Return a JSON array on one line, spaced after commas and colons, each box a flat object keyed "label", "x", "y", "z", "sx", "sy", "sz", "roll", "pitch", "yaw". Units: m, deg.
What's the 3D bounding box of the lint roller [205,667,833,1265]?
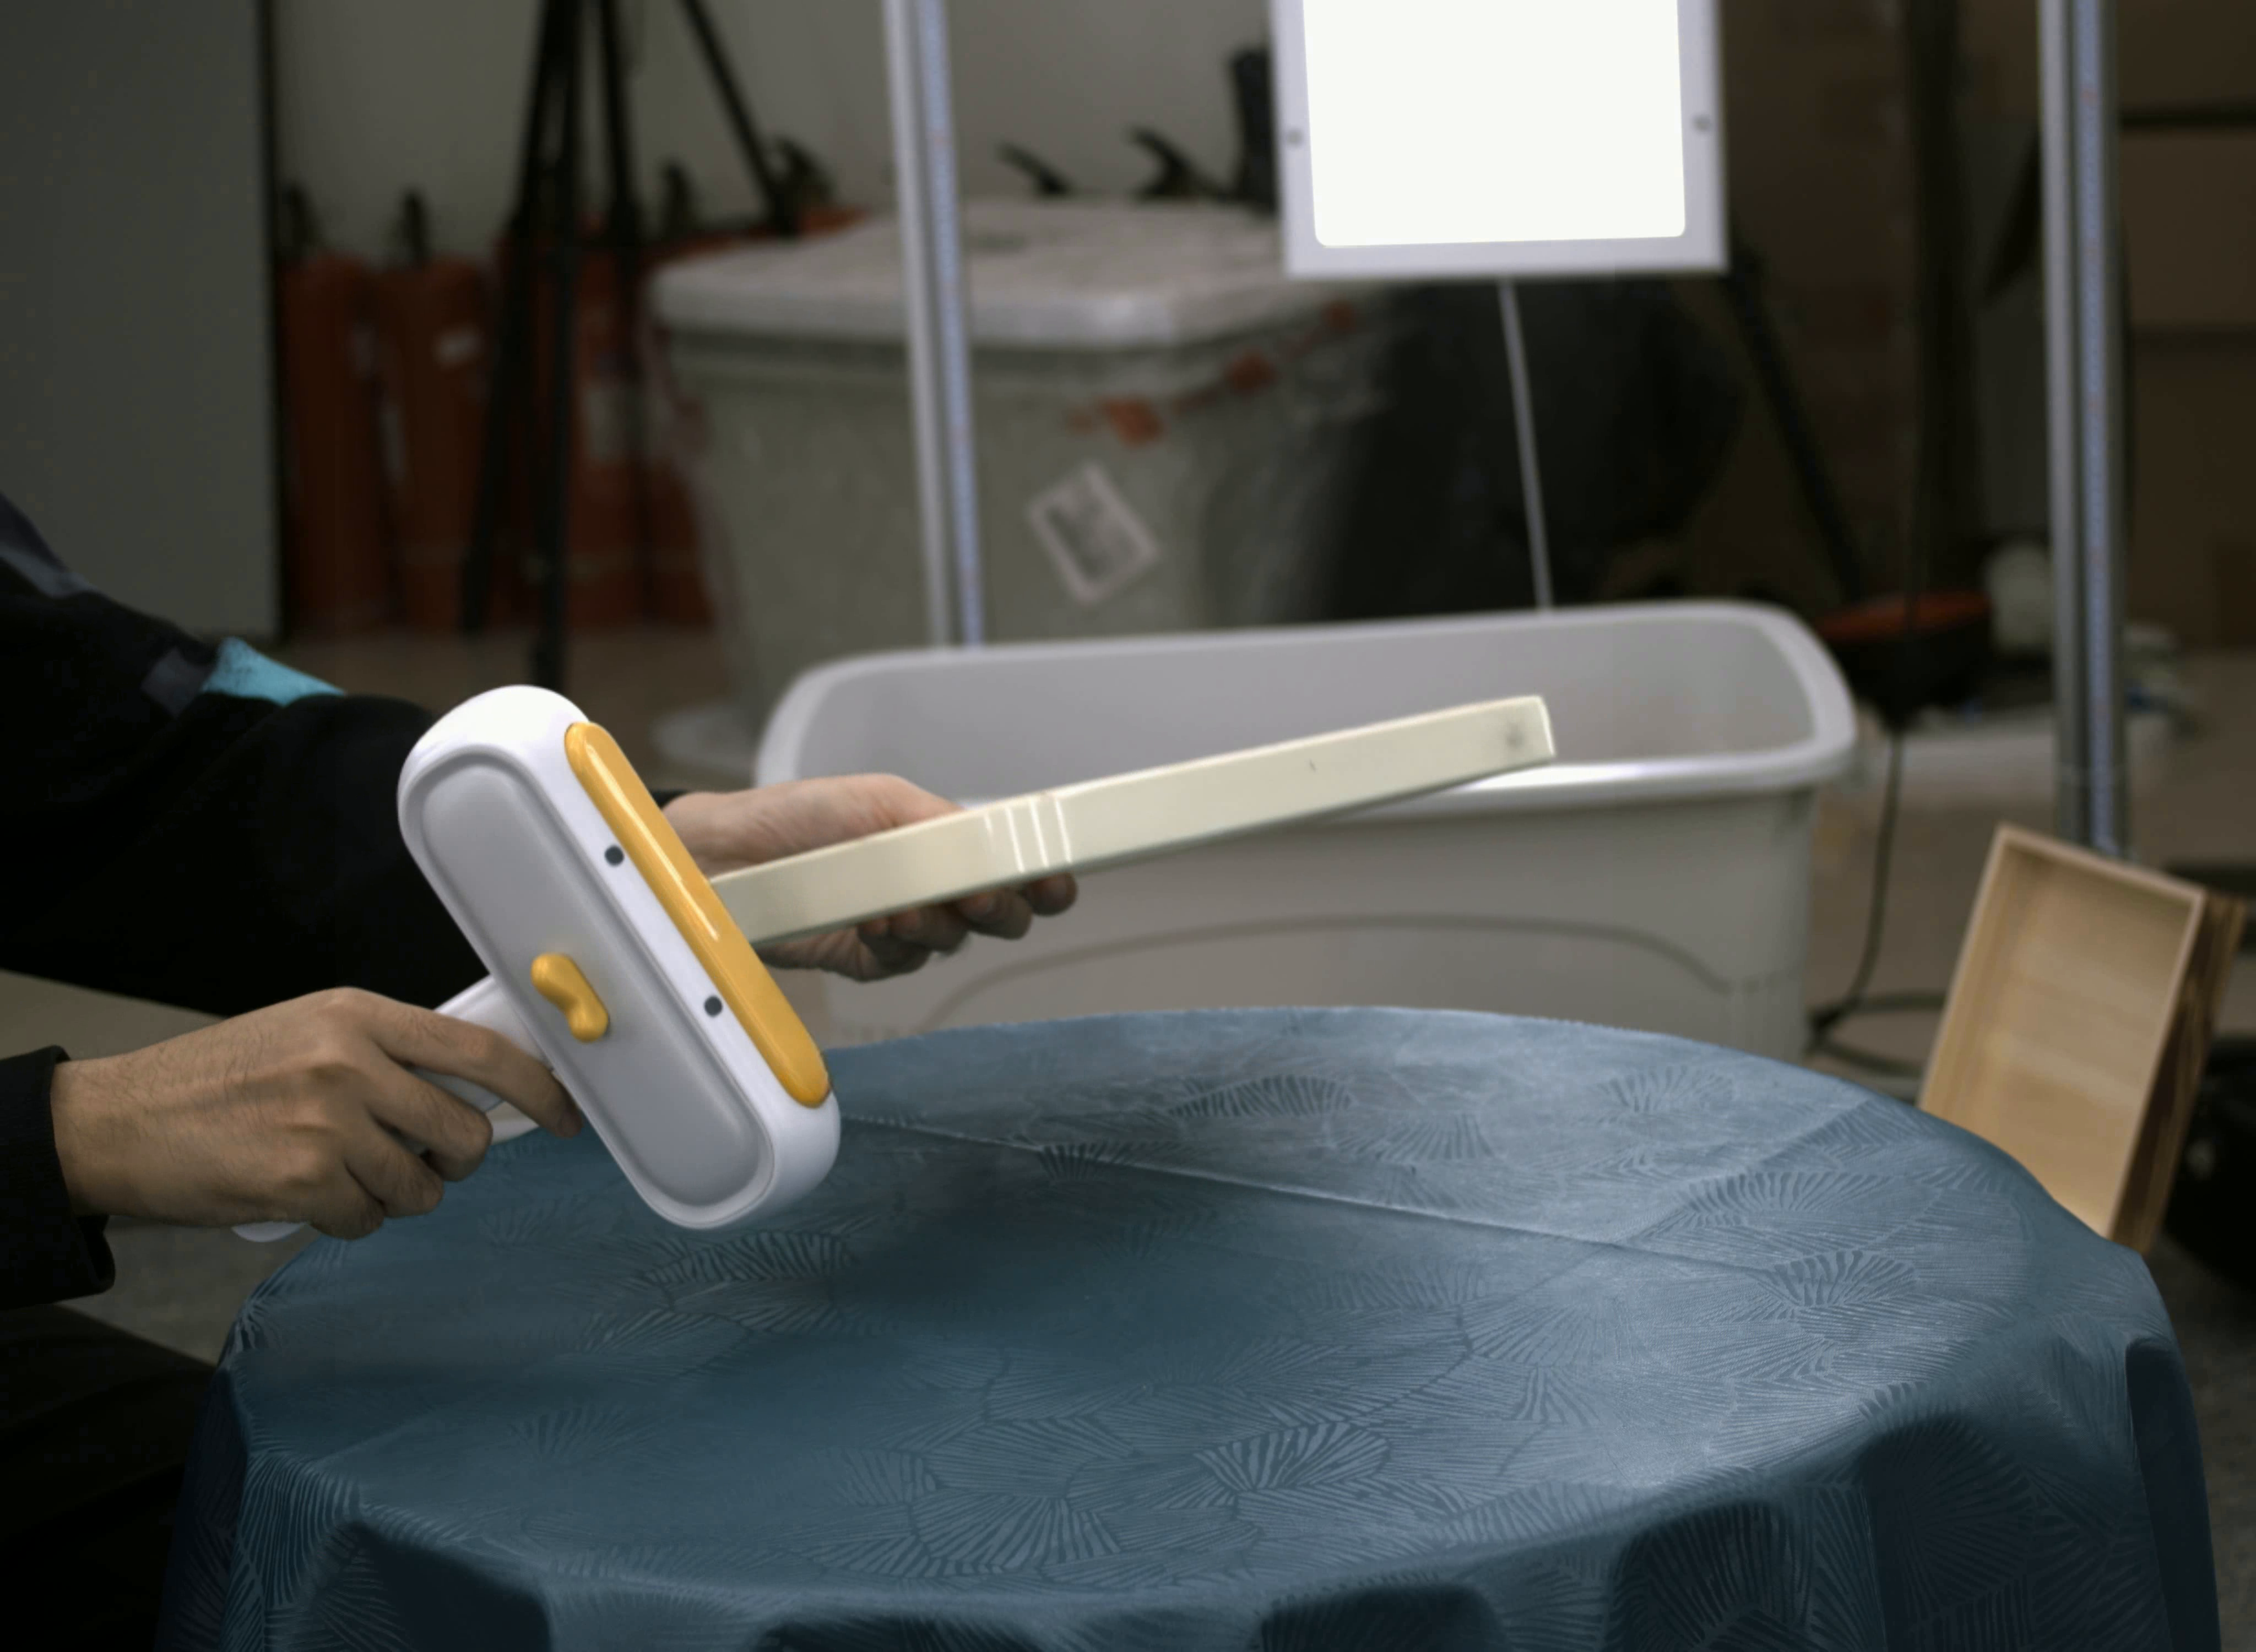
[{"label": "lint roller", "x": -0.215, "y": 0.072, "z": 1.784, "sx": 0.195, "sy": 0.192, "sz": 0.073, "roll": -36, "pitch": 6, "yaw": 18}]

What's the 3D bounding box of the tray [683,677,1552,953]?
[{"label": "tray", "x": -0.007, "y": -0.002, "z": 1.913, "sx": 0.196, "sy": 0.027, "sz": 0.292, "roll": -17, "pitch": -3, "yaw": 43}]
